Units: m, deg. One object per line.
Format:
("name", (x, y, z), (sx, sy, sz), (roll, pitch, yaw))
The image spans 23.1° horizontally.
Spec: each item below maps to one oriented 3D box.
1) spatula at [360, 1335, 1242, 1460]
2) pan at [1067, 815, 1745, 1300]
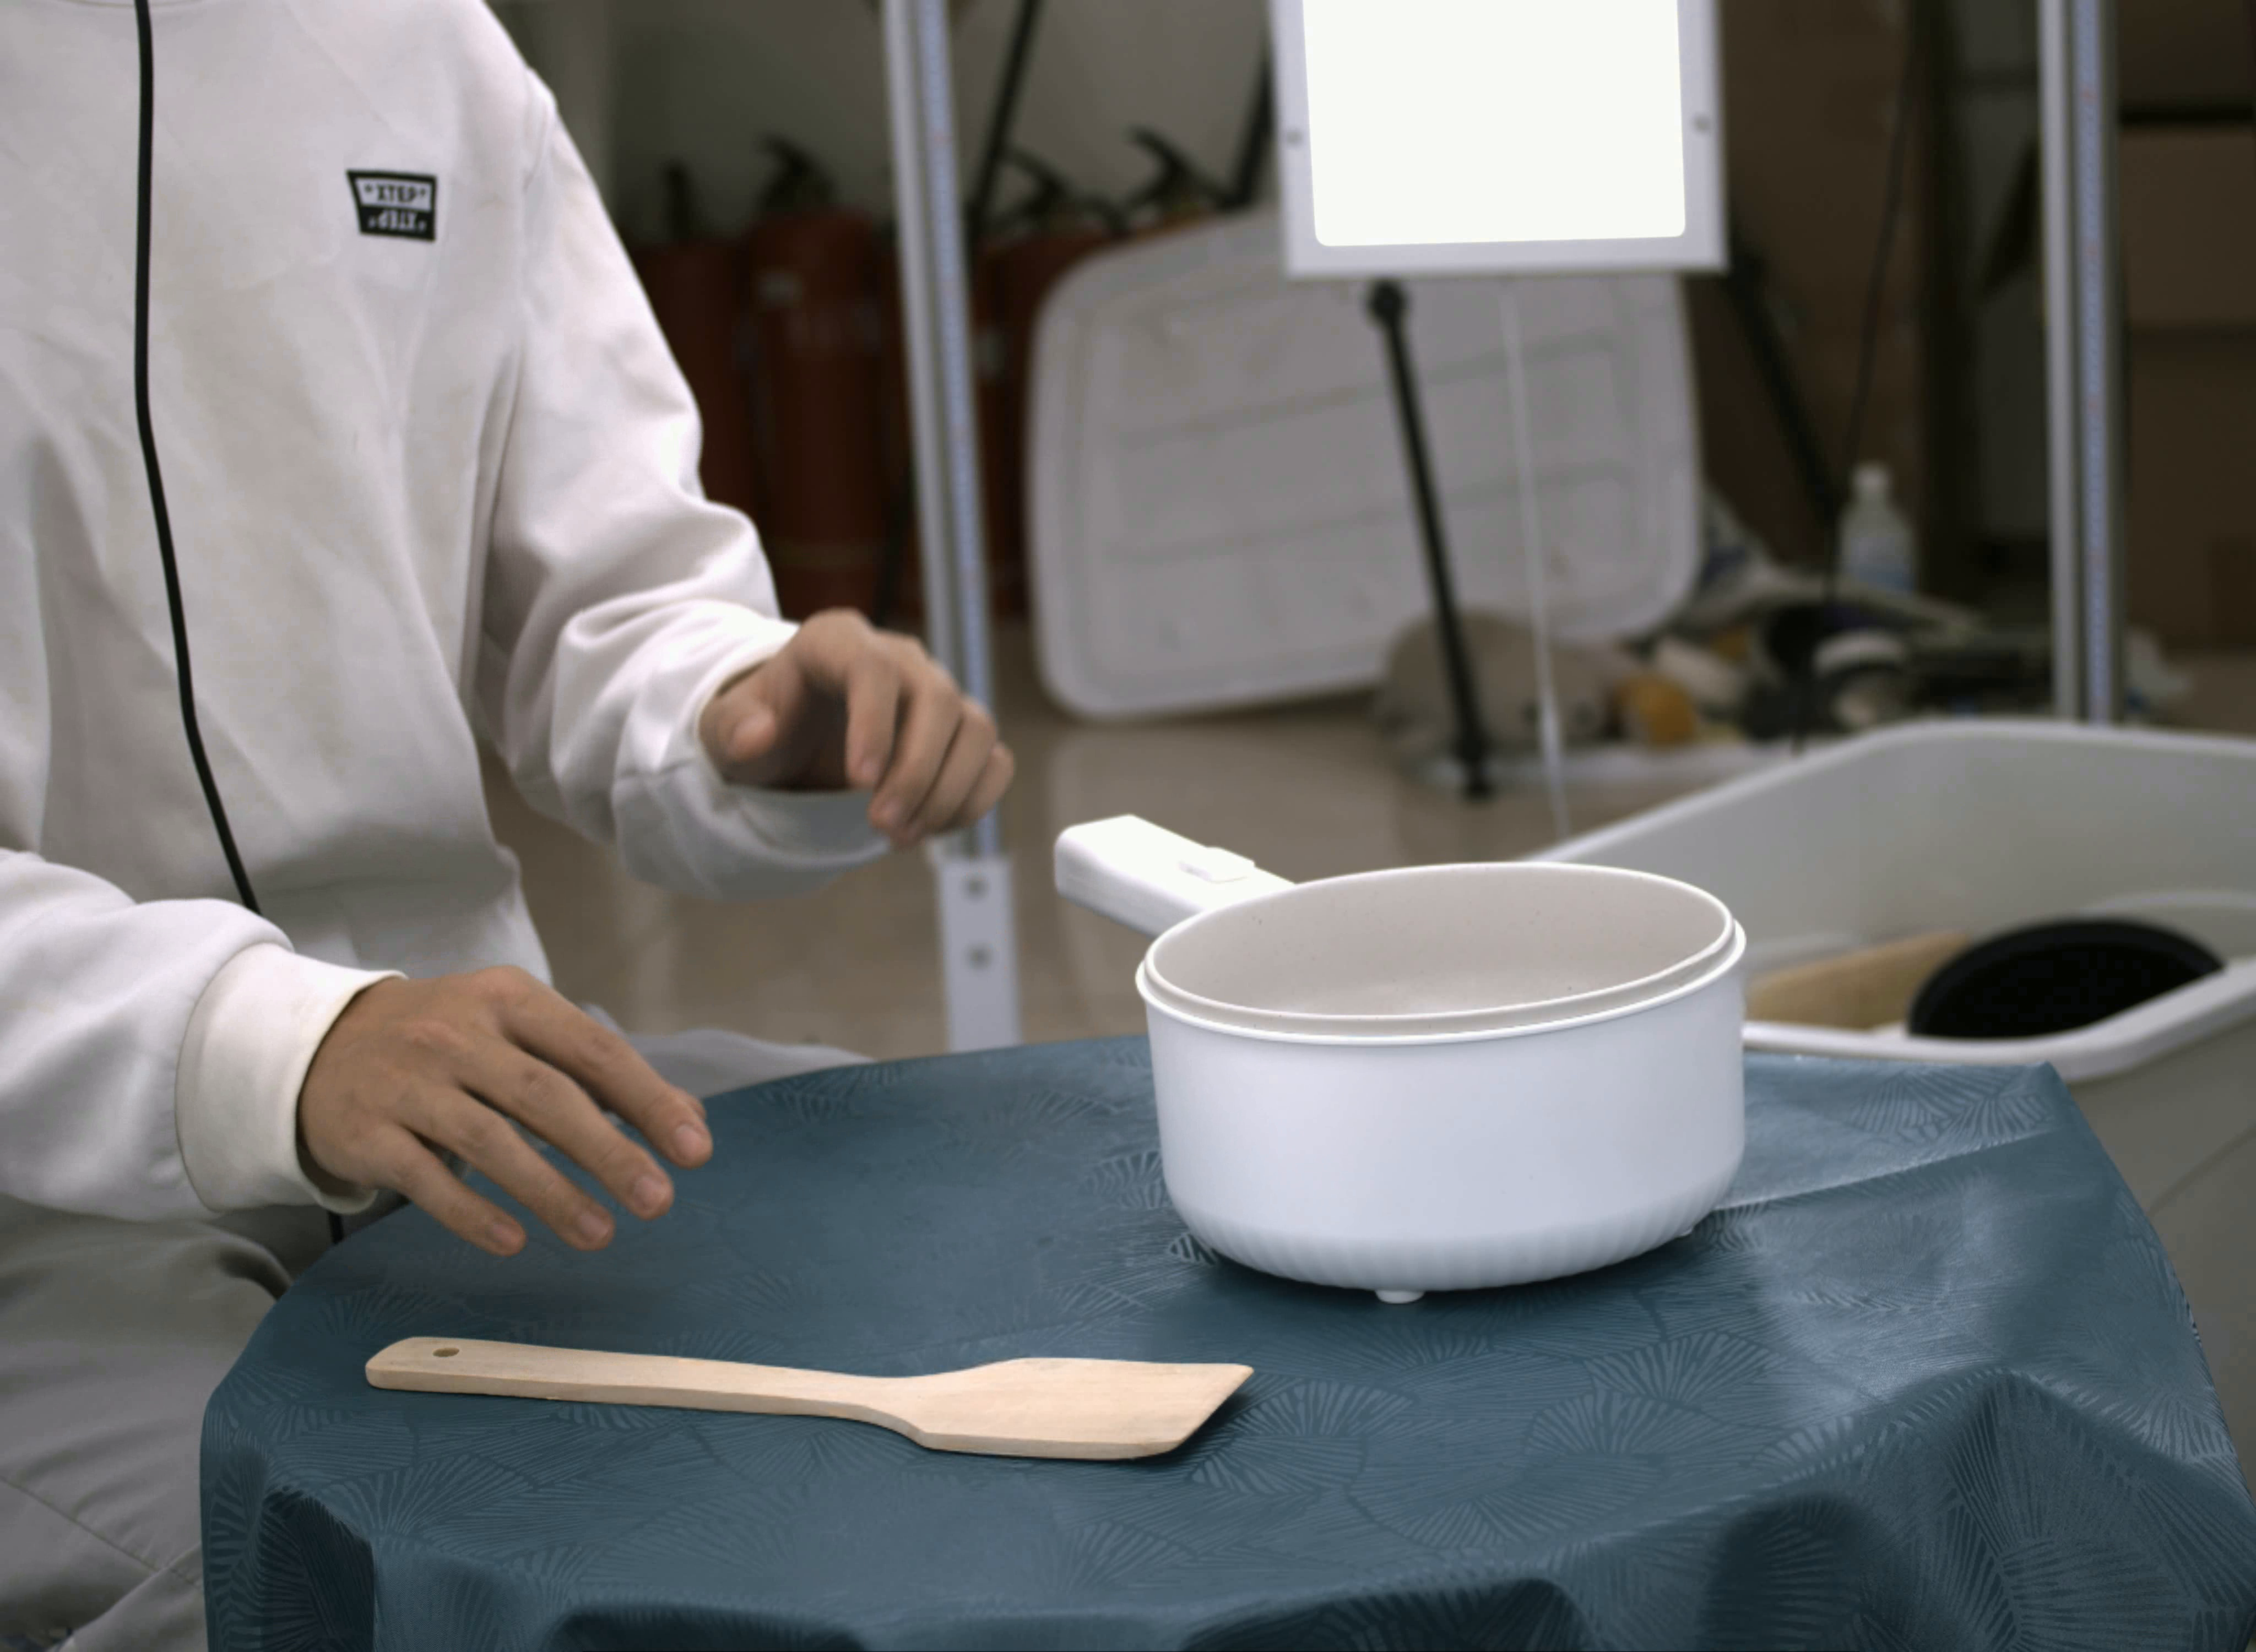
("spatula", (-0.110, 0.175, 1.720), (0.297, 0.011, 0.071), (1, 16, 25))
("pan", (0.073, 0.072, 1.887), (0.197, 0.102, 0.360), (-11, 14, -24))
